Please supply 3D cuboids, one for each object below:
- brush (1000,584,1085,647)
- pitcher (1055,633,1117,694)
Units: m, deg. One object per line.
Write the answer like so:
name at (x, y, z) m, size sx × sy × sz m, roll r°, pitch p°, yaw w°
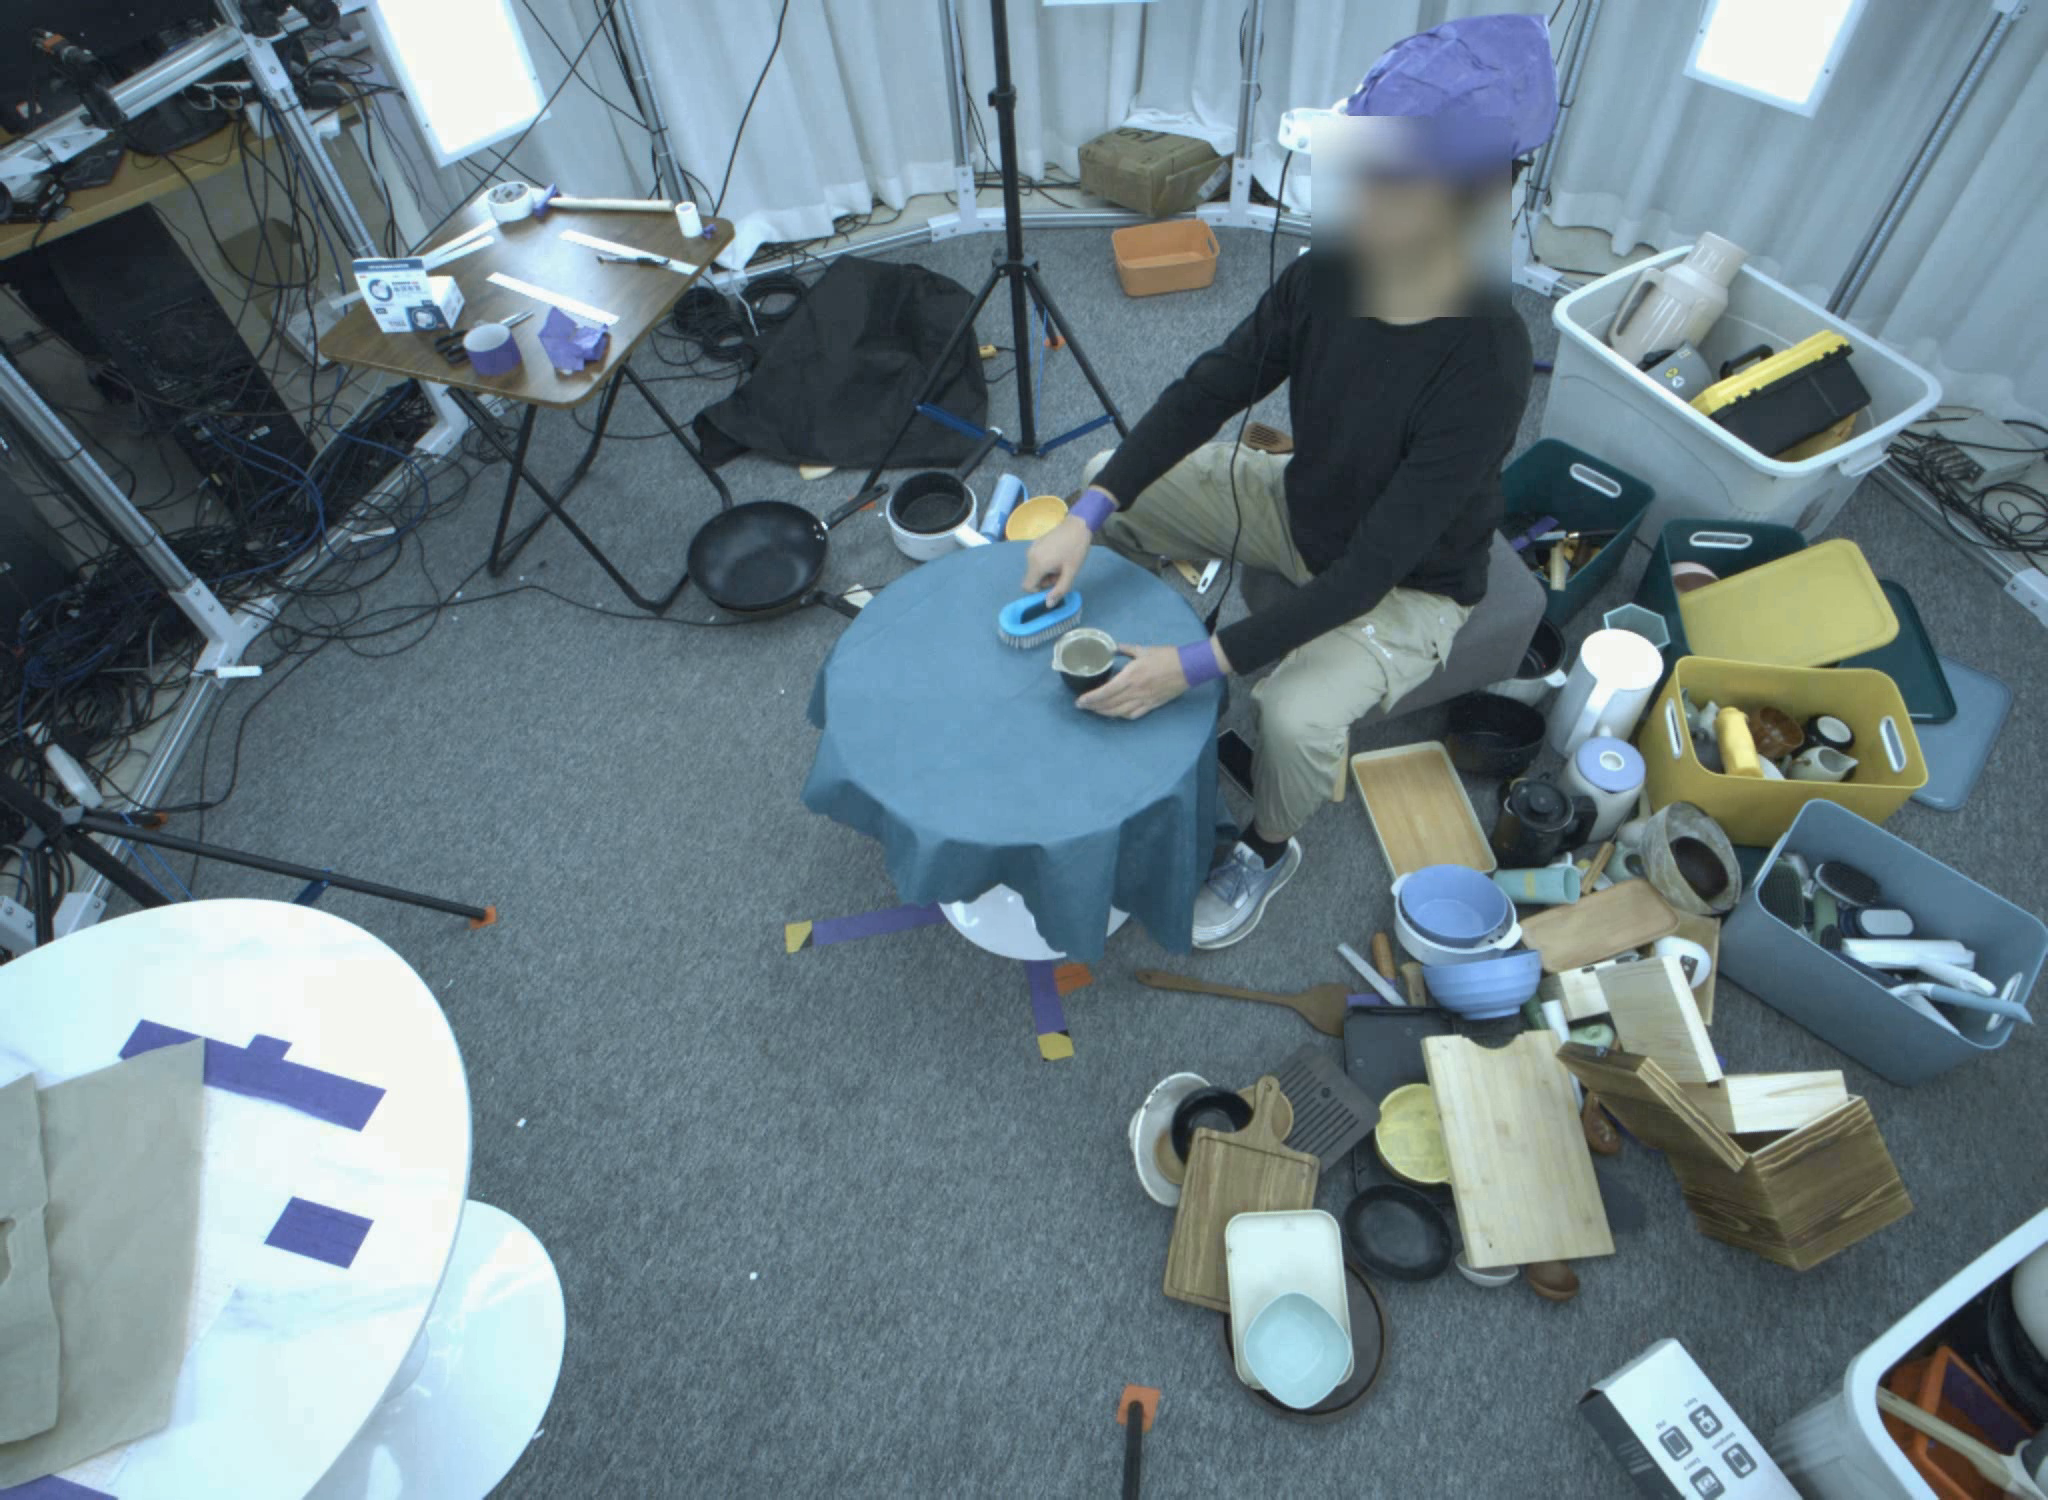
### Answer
brush at (0.027, -0.220, 1.904) m, size 0.143 × 0.064 × 0.082 m, roll -24°, pitch 53°, yaw -15°
pitcher at (0.092, -0.122, 1.827) m, size 0.096 × 0.072 × 0.082 m, roll -22°, pitch 58°, yaw -11°
